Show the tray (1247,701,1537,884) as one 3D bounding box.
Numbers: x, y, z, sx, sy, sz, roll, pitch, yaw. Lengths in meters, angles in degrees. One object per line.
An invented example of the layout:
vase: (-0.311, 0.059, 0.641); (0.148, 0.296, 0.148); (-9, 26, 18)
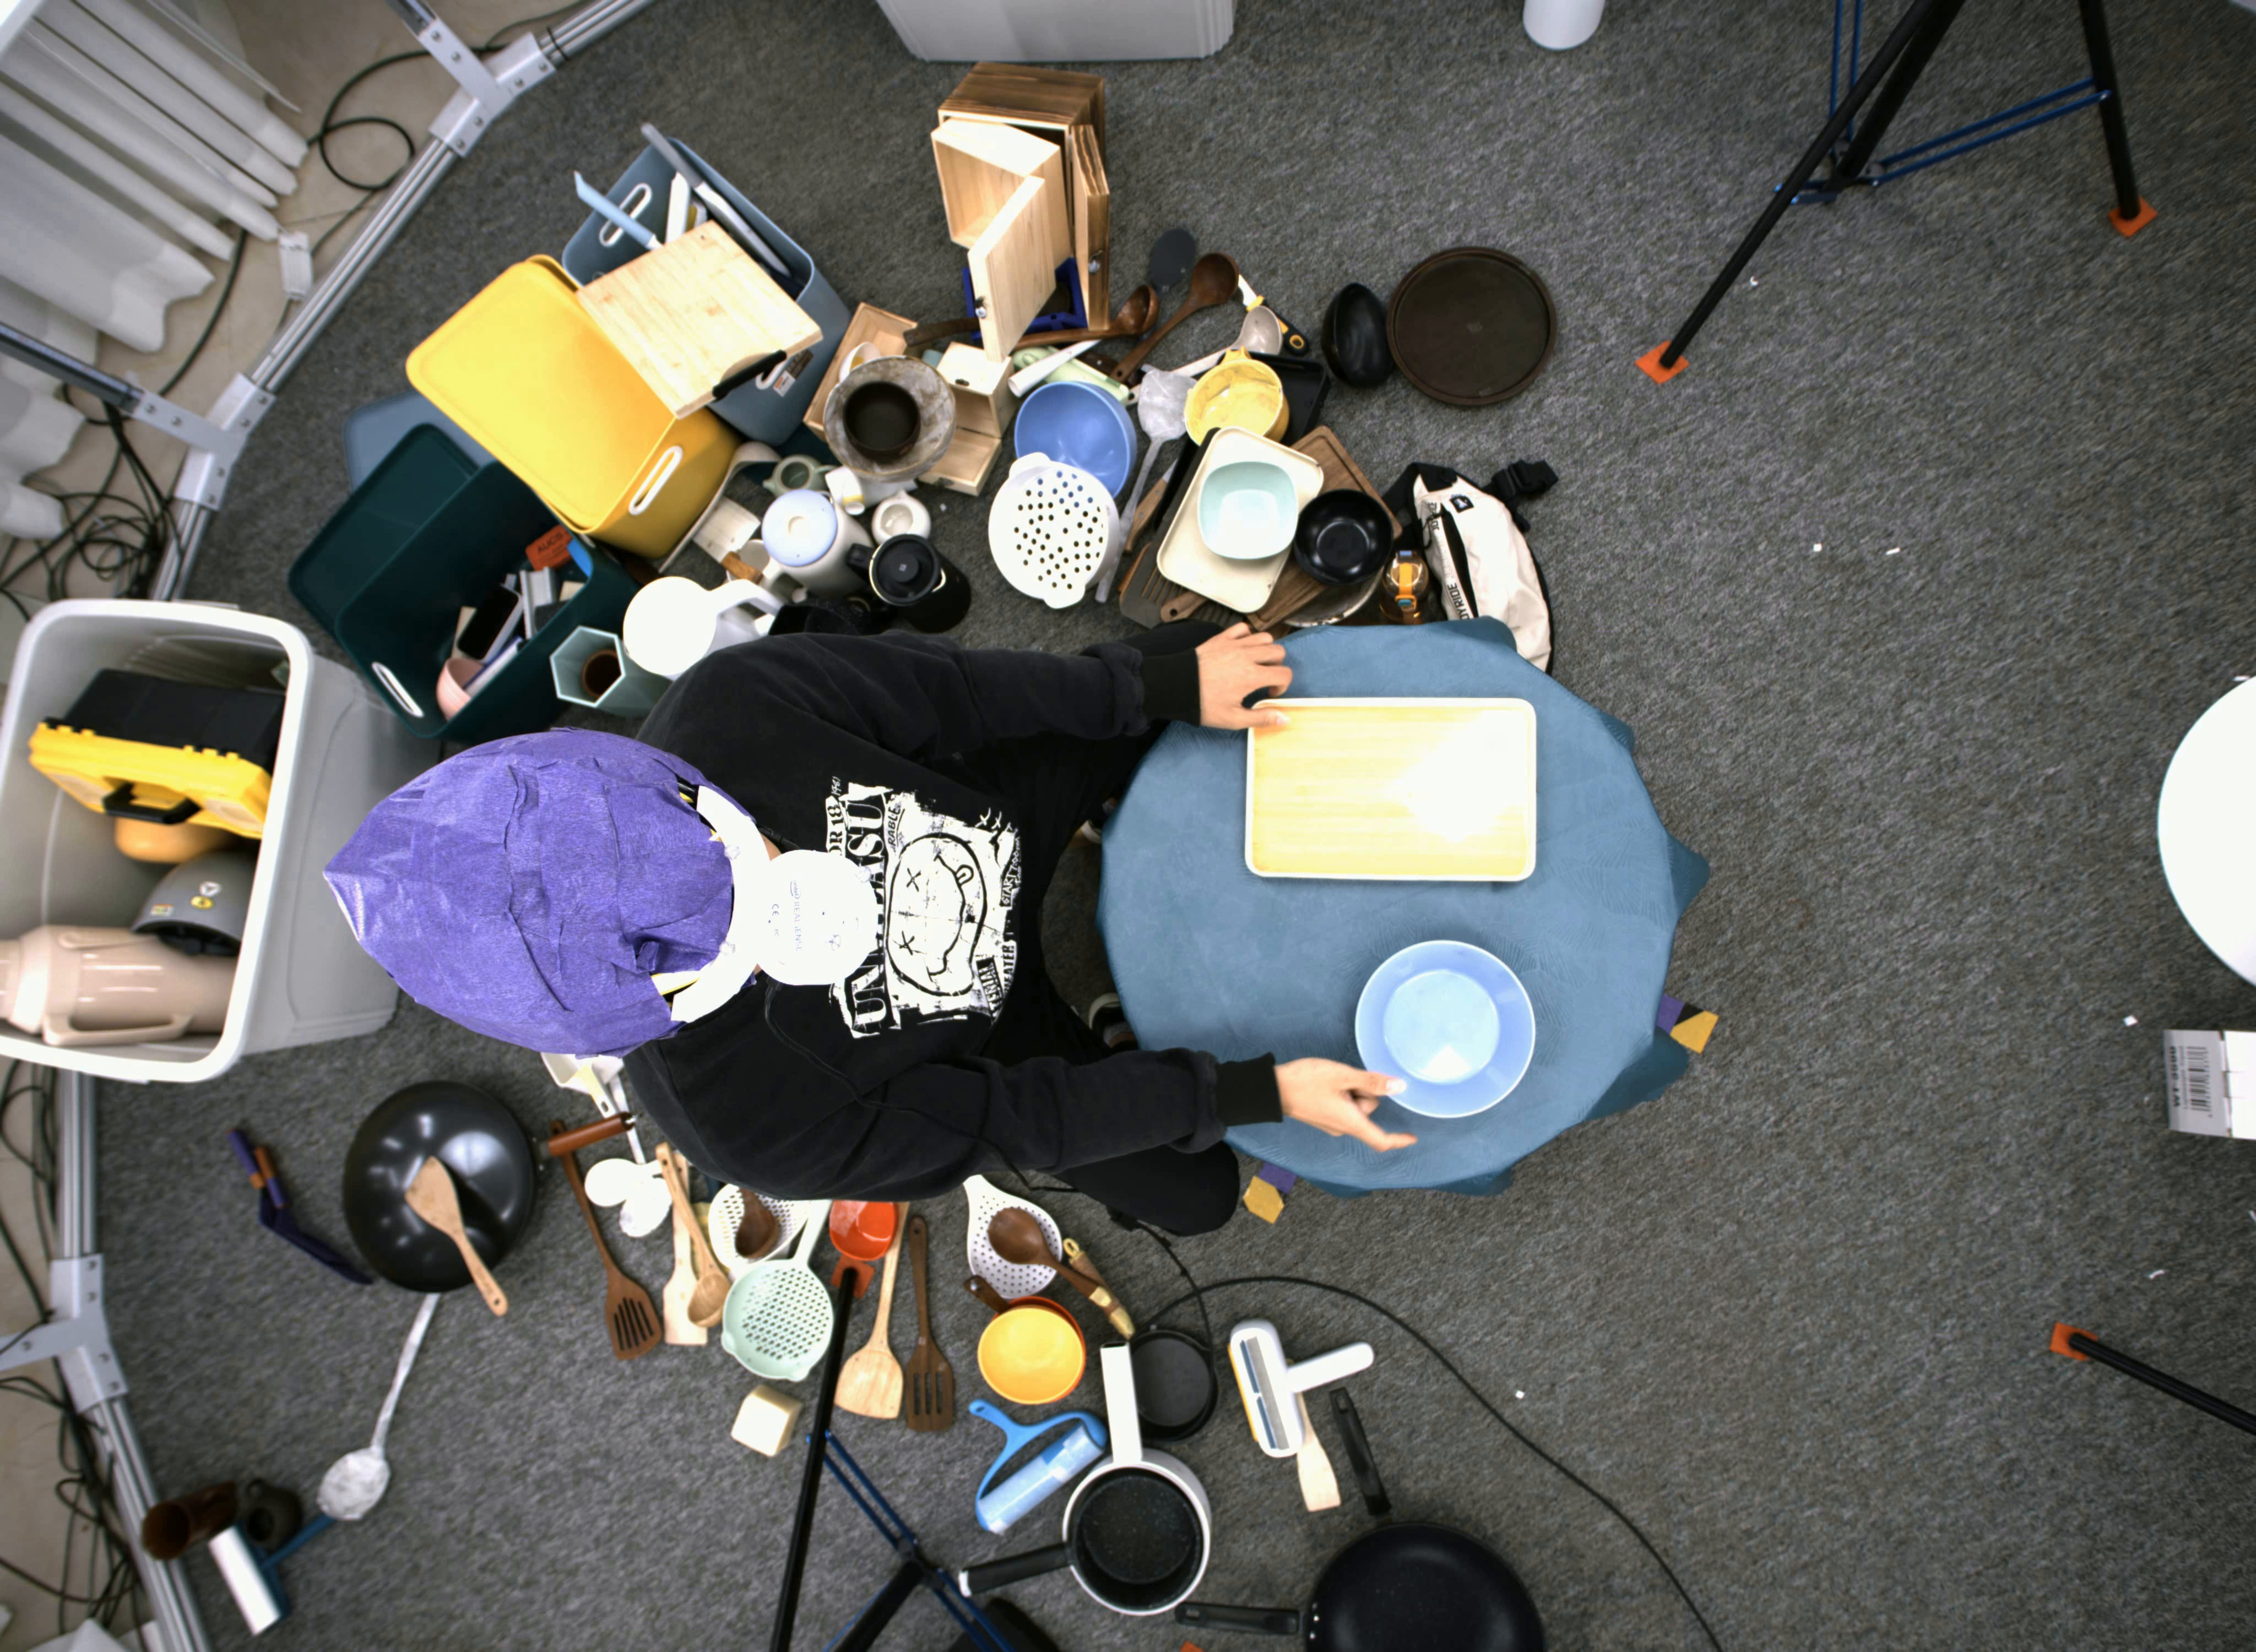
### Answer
tray: (0.278, -0.037, 1.457); (0.301, 0.027, 0.190); (1, 86, 10)

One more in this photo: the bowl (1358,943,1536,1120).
bowl: (0.322, 0.207, 1.410); (0.177, 0.070, 0.175); (-1, 85, 9)
